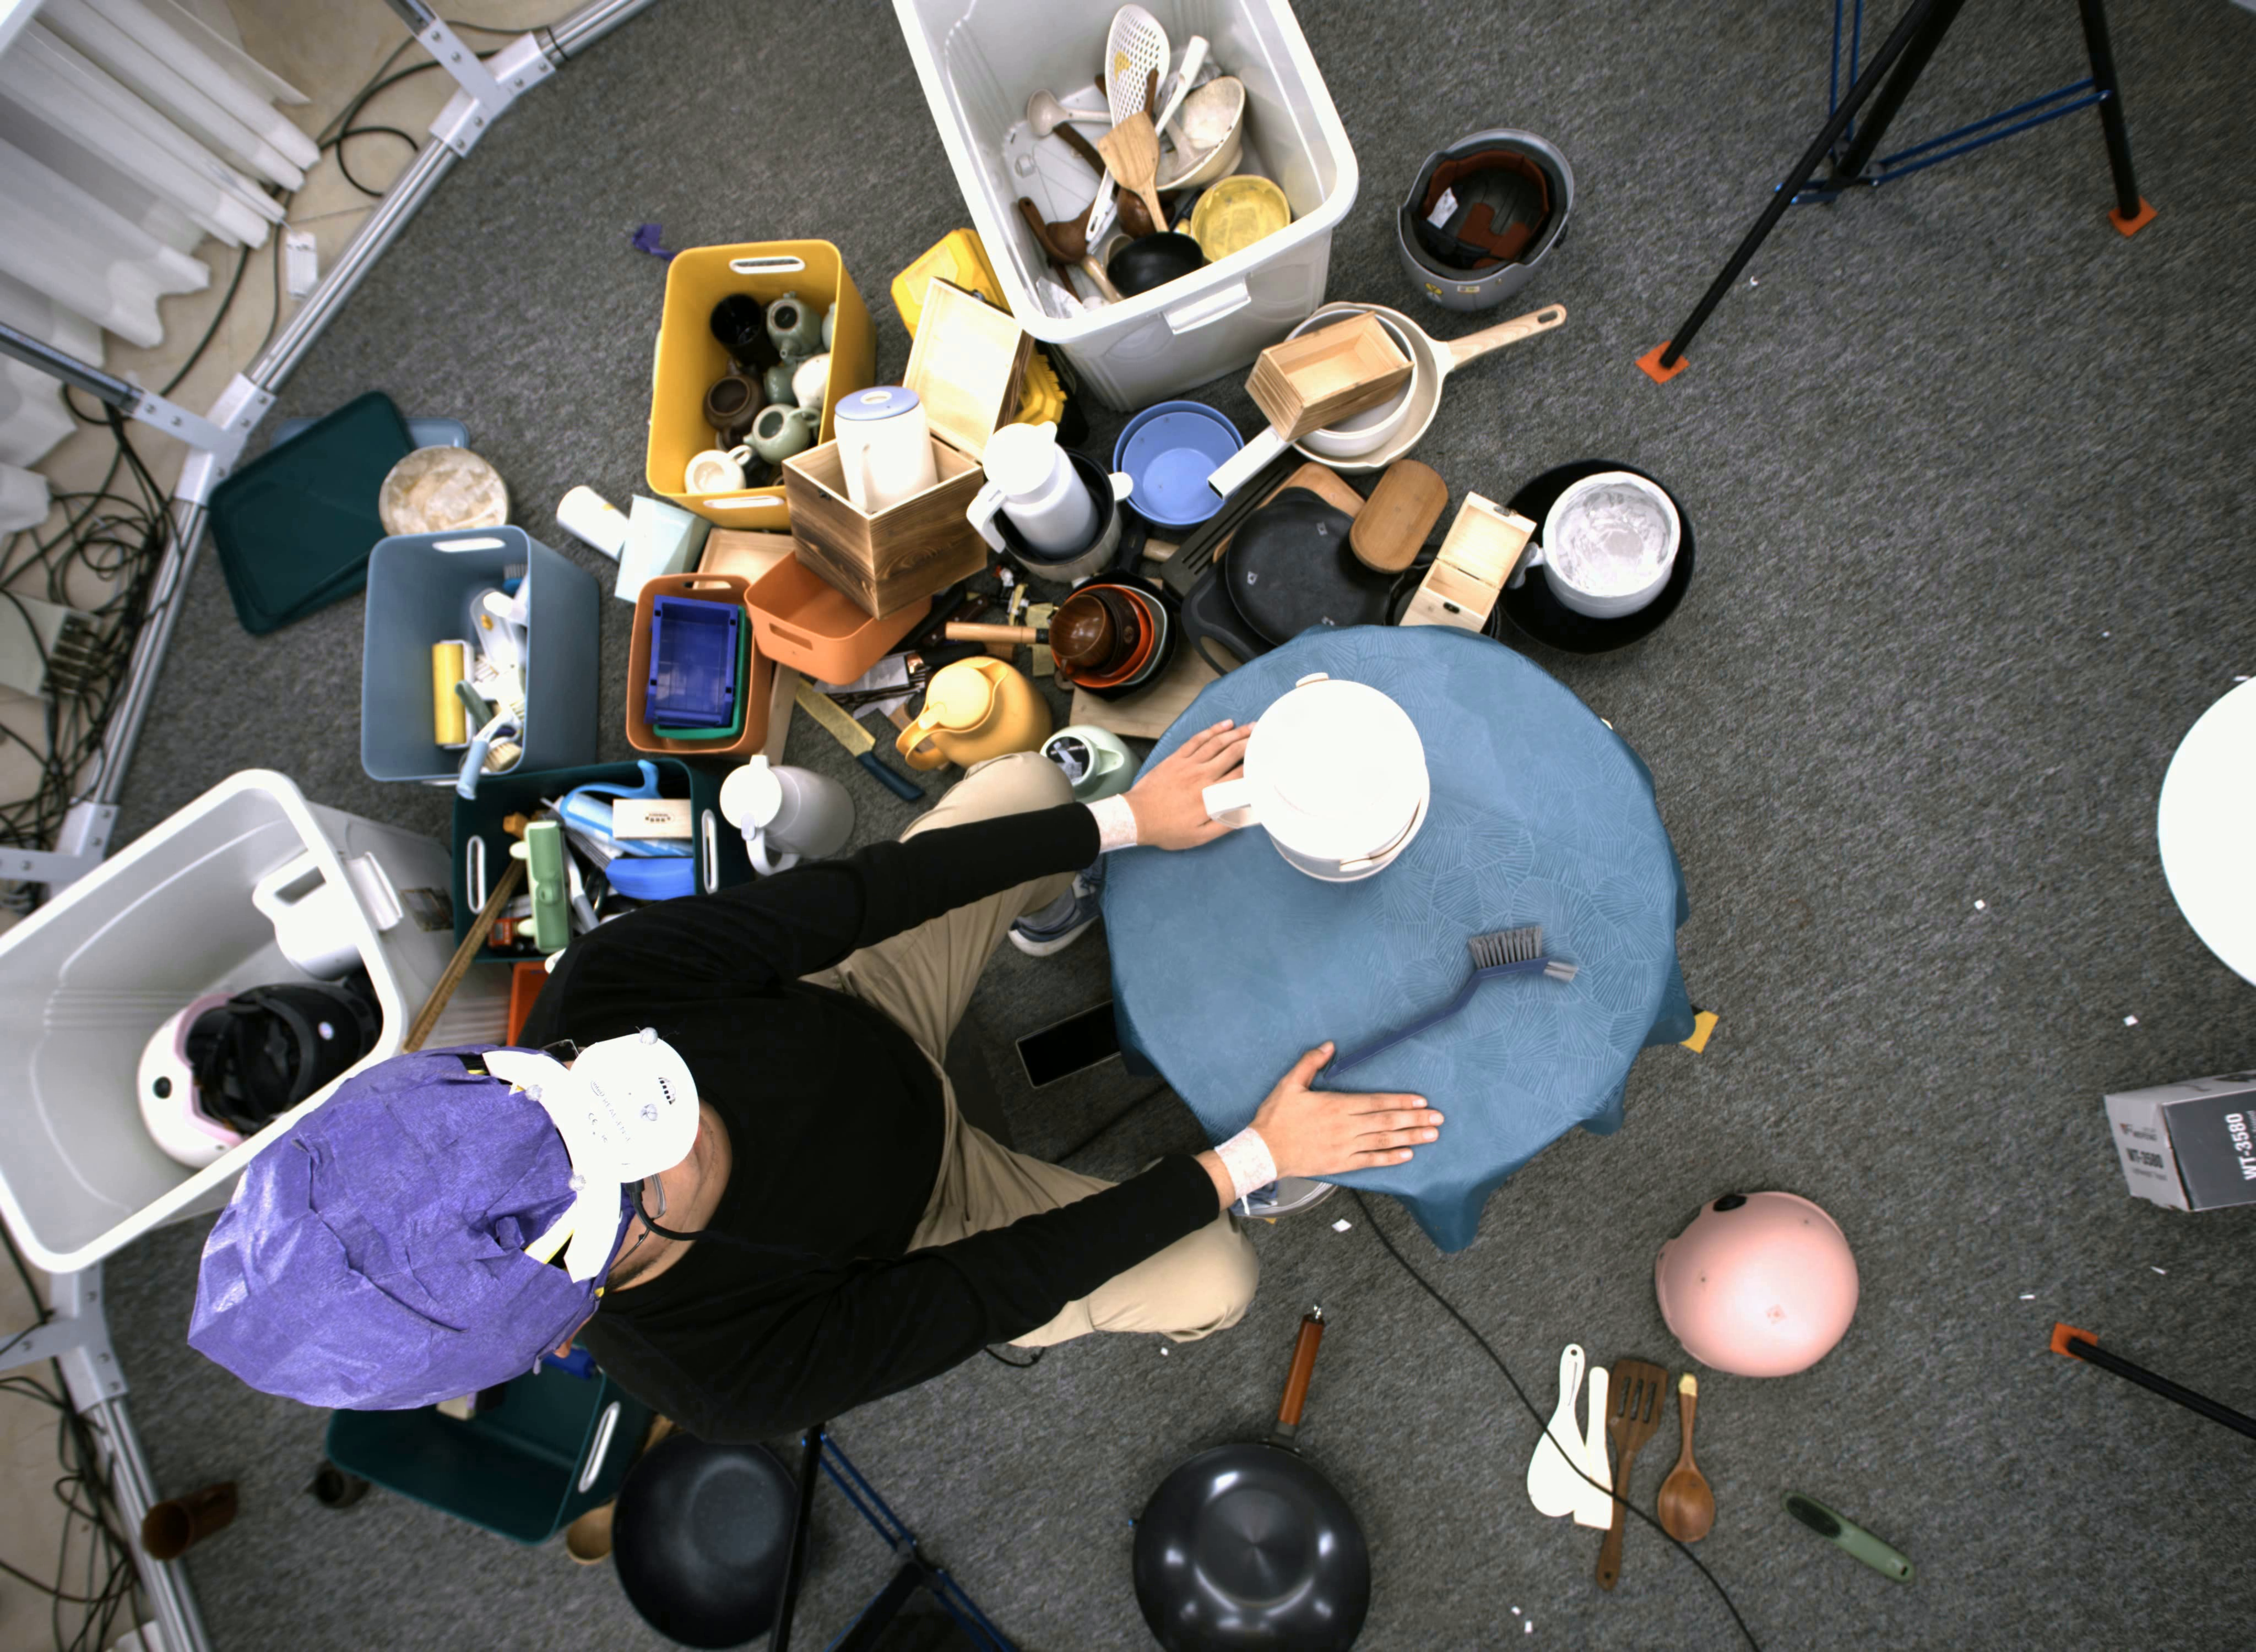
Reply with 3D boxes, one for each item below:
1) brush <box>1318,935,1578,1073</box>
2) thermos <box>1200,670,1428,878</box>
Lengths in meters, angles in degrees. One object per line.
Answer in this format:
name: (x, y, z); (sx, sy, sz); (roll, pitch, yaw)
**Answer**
brush: (0.326, 0.199, 1.426); (0.274, 0.033, 0.095); (-35, 80, 5)
thermos: (0.177, -0.041, 1.282); (0.208, 0.406, 0.174); (-14, 84, 8)
